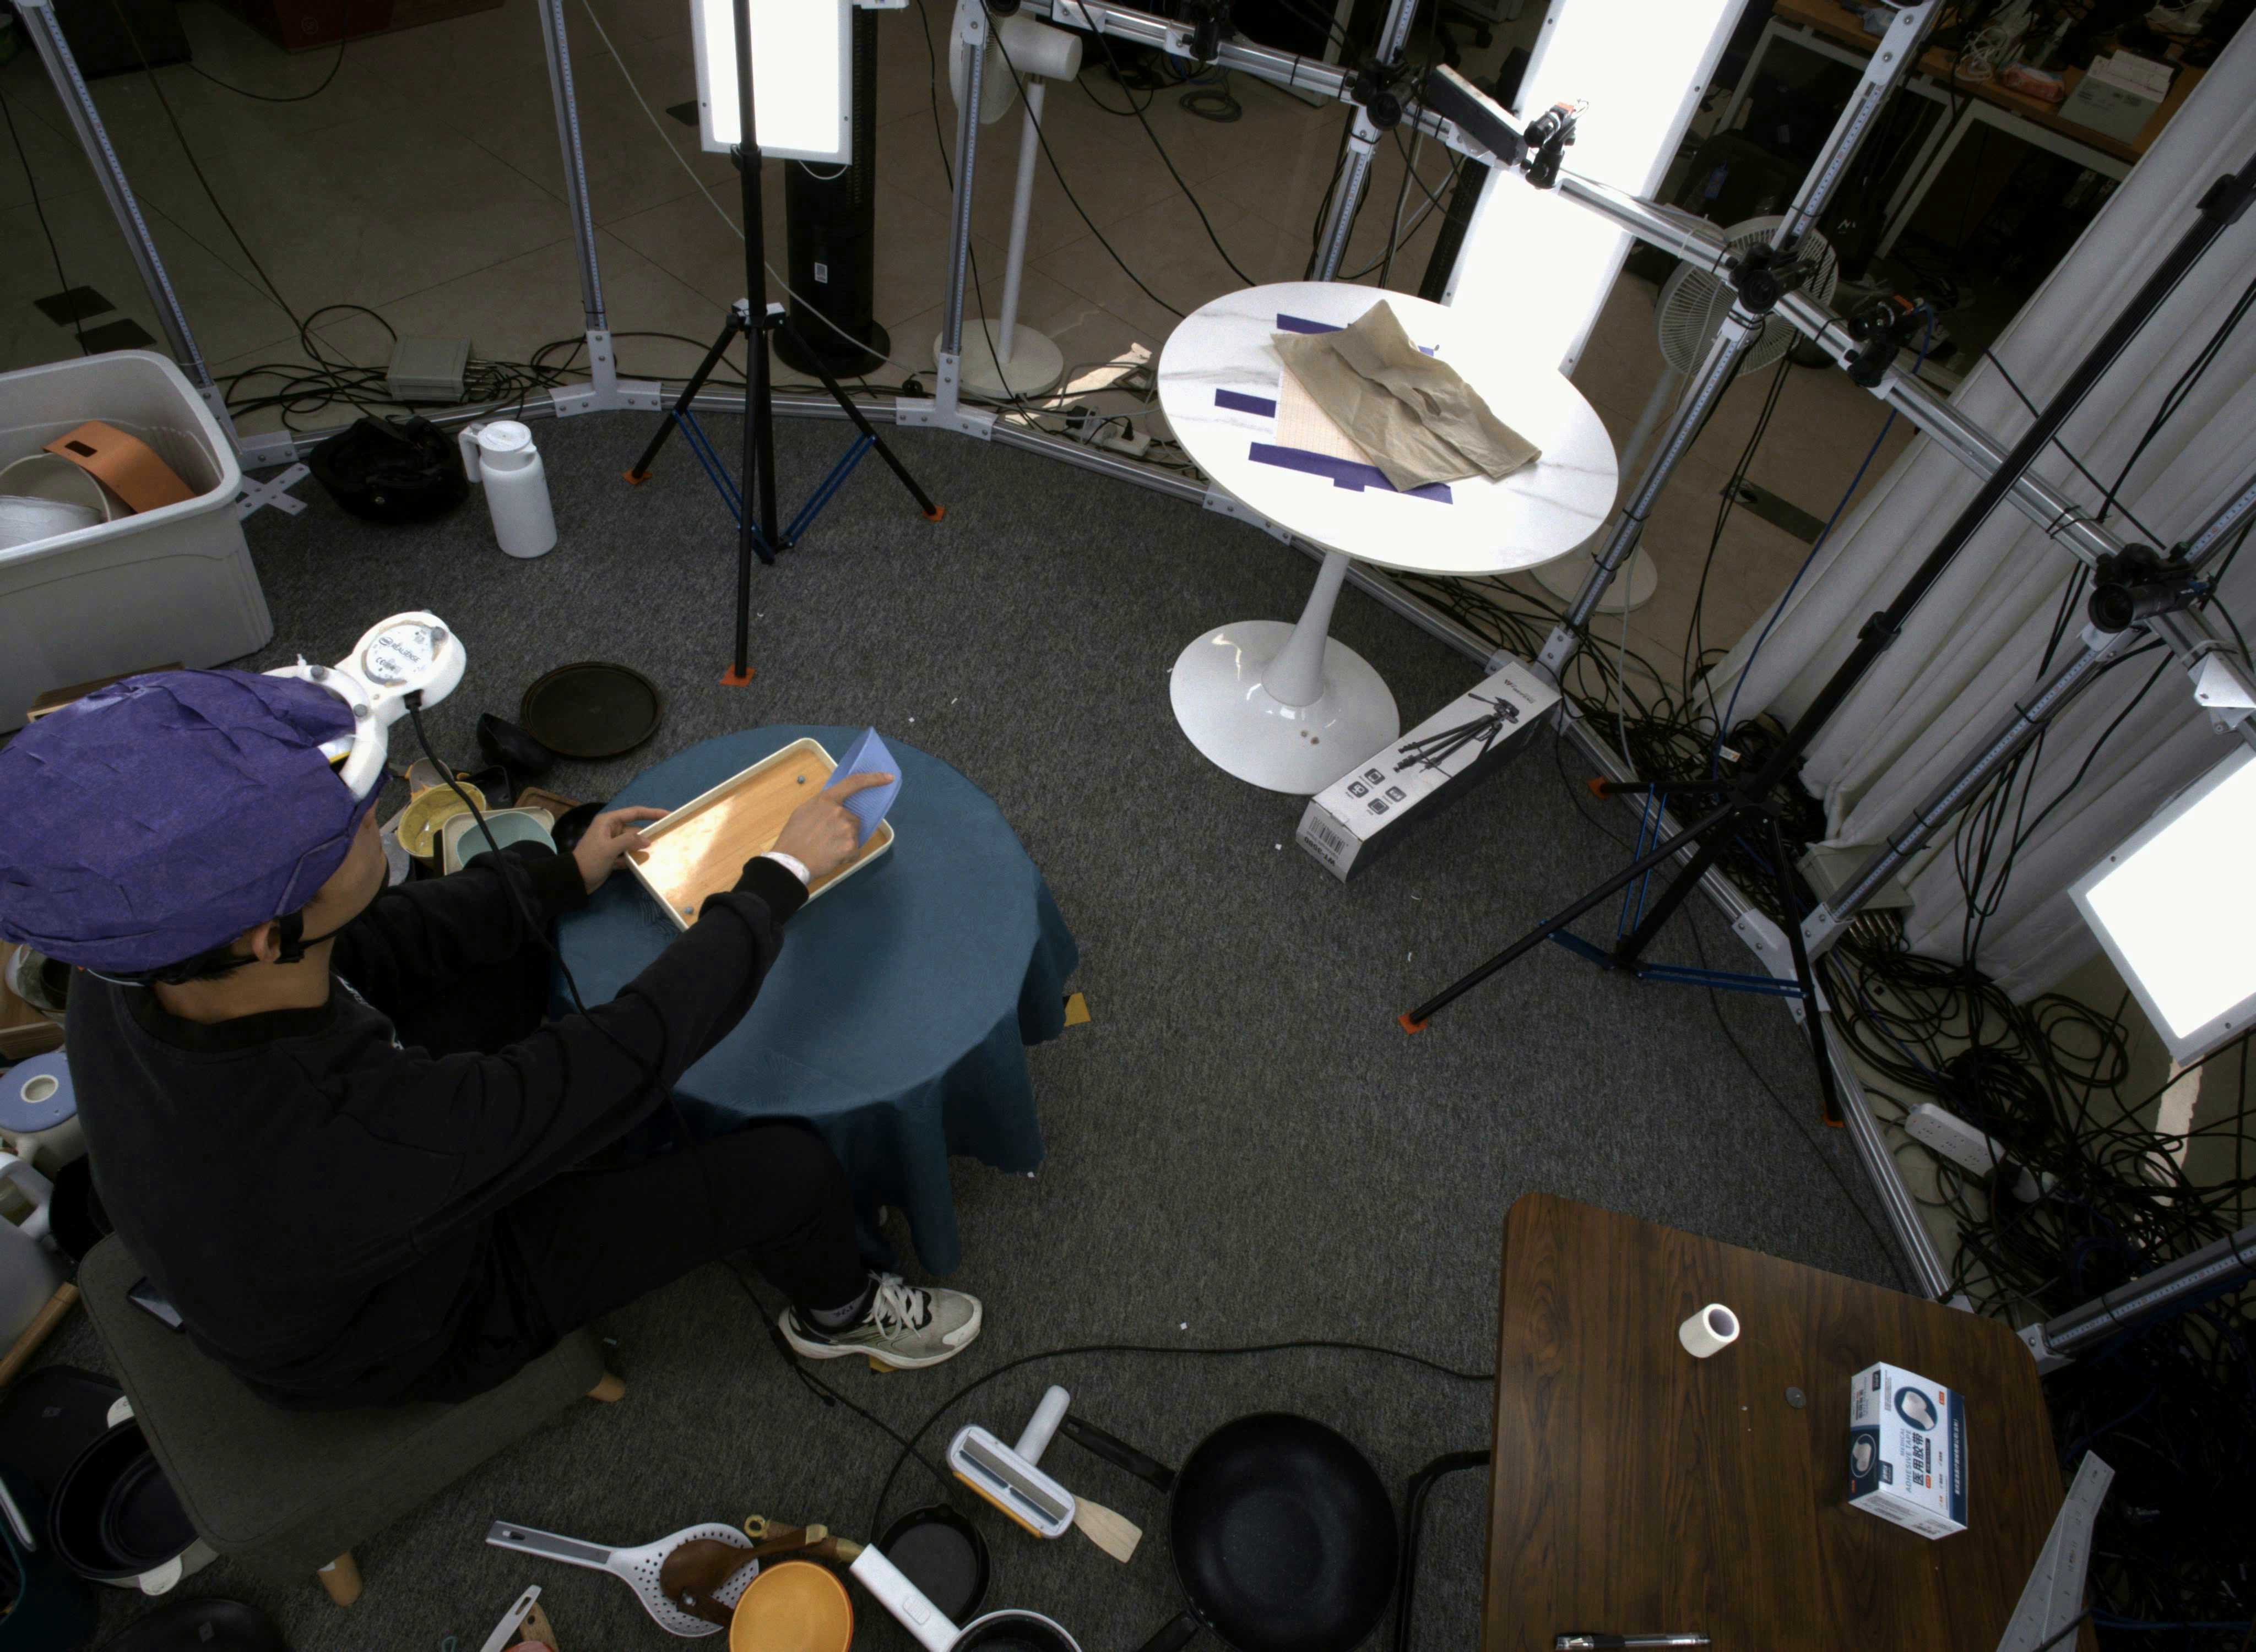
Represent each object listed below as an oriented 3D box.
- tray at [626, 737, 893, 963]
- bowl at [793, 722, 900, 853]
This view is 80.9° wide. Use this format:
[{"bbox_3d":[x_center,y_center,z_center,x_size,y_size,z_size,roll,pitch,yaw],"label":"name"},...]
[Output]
[{"bbox_3d":[-0.467,0.023,1.653,0.191,0.027,0.301,49,54,5],"label":"tray"},{"bbox_3d":[-0.337,-0.036,1.588,0.071,0.175,0.174,33,48,-17],"label":"bowl"}]
